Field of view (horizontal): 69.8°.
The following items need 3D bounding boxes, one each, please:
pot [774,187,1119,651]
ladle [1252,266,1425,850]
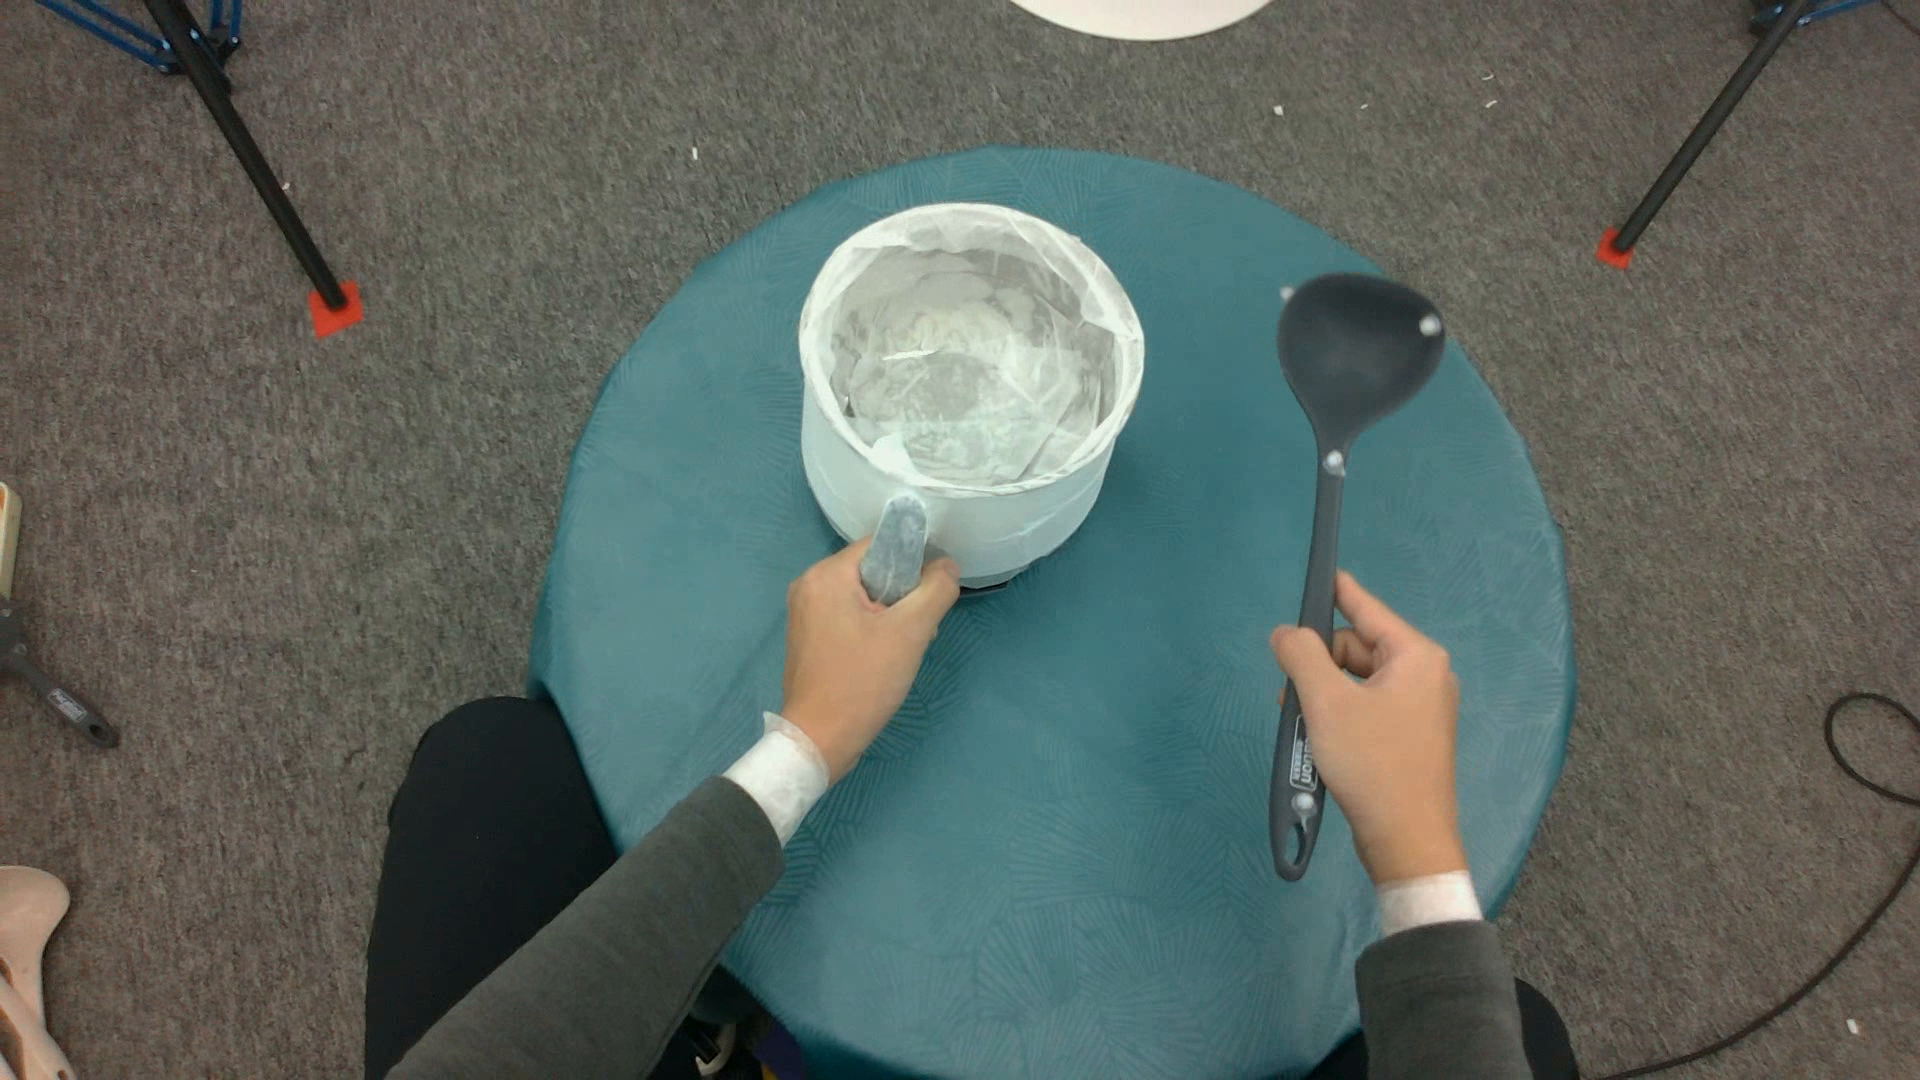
[{"bbox_3d":[-0.020,-0.059,0.746,0.179,0.136,0.234,17,64,2],"label":"pot"},{"bbox_3d":[0.176,-0.003,0.677,0.086,0.063,0.315,14,58,2],"label":"ladle"}]
